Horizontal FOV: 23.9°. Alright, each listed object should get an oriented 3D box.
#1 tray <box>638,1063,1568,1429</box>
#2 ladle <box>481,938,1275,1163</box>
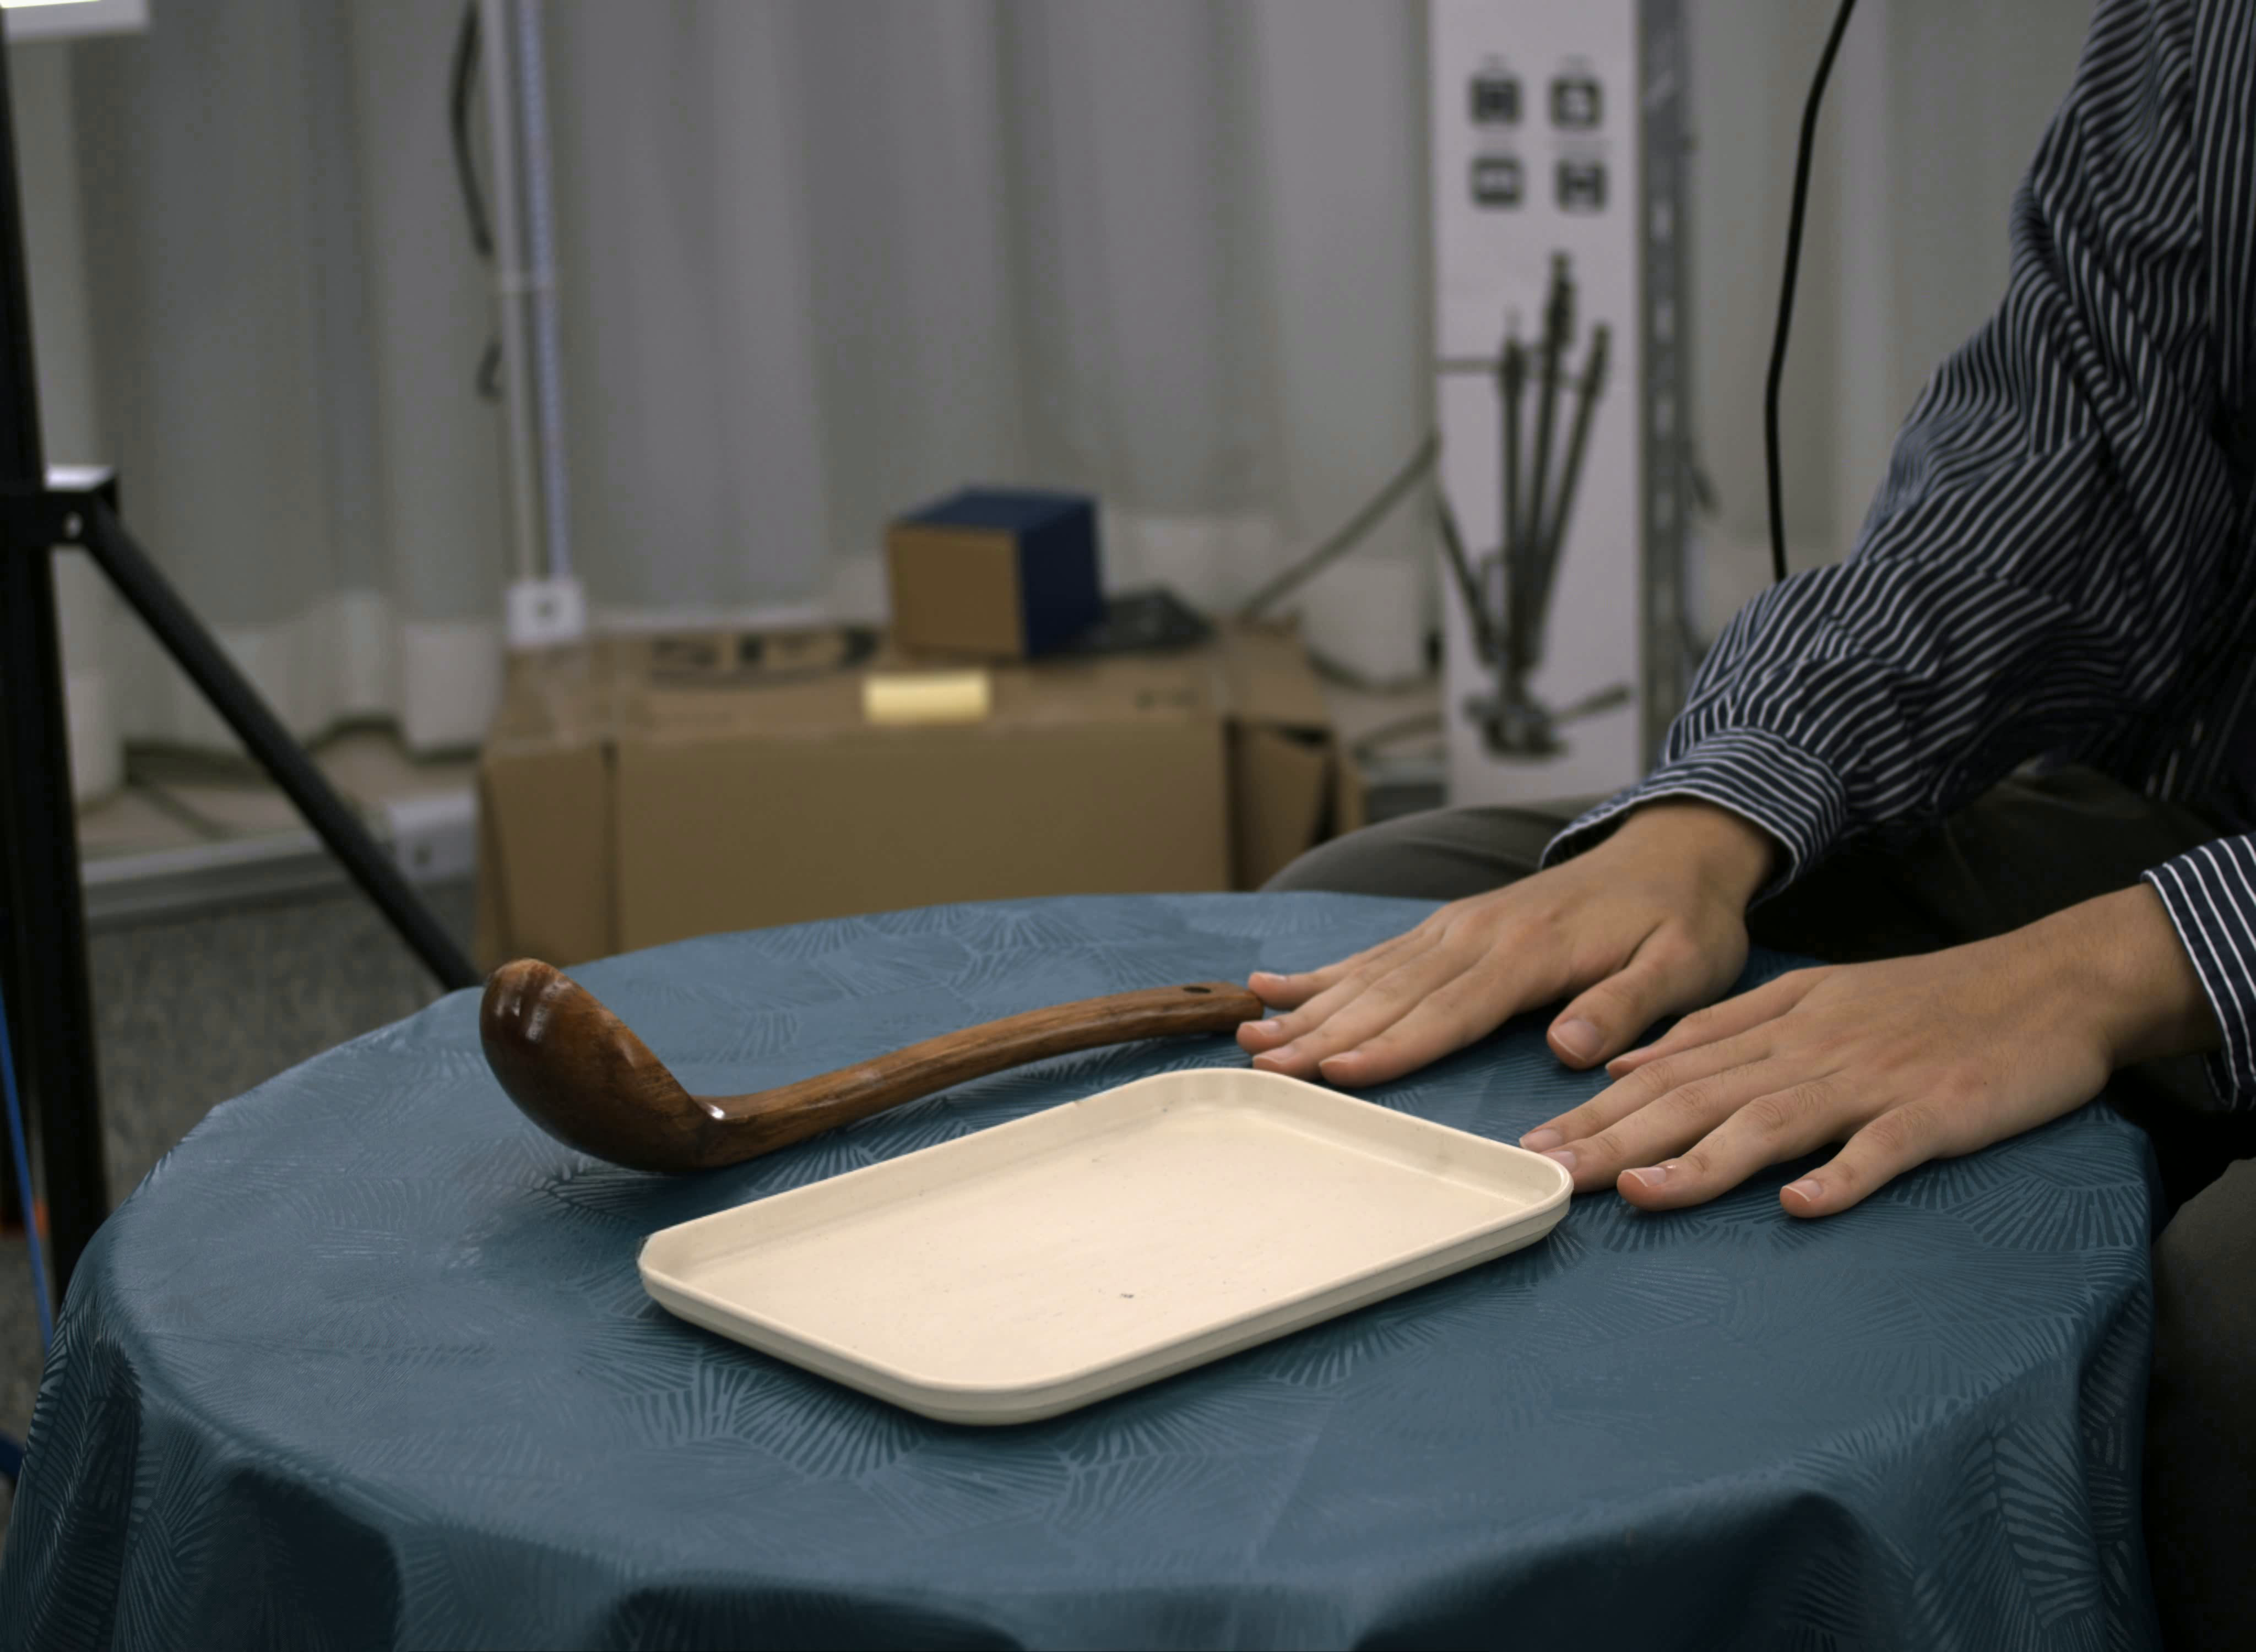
[{"bbox_3d":[-0.005,0.117,1.500,0.234,0.017,0.175,-15,21,-38],"label":"tray"},{"bbox_3d":[-0.072,0.050,1.636,0.268,0.076,0.084,-12,22,-30],"label":"ladle"}]
